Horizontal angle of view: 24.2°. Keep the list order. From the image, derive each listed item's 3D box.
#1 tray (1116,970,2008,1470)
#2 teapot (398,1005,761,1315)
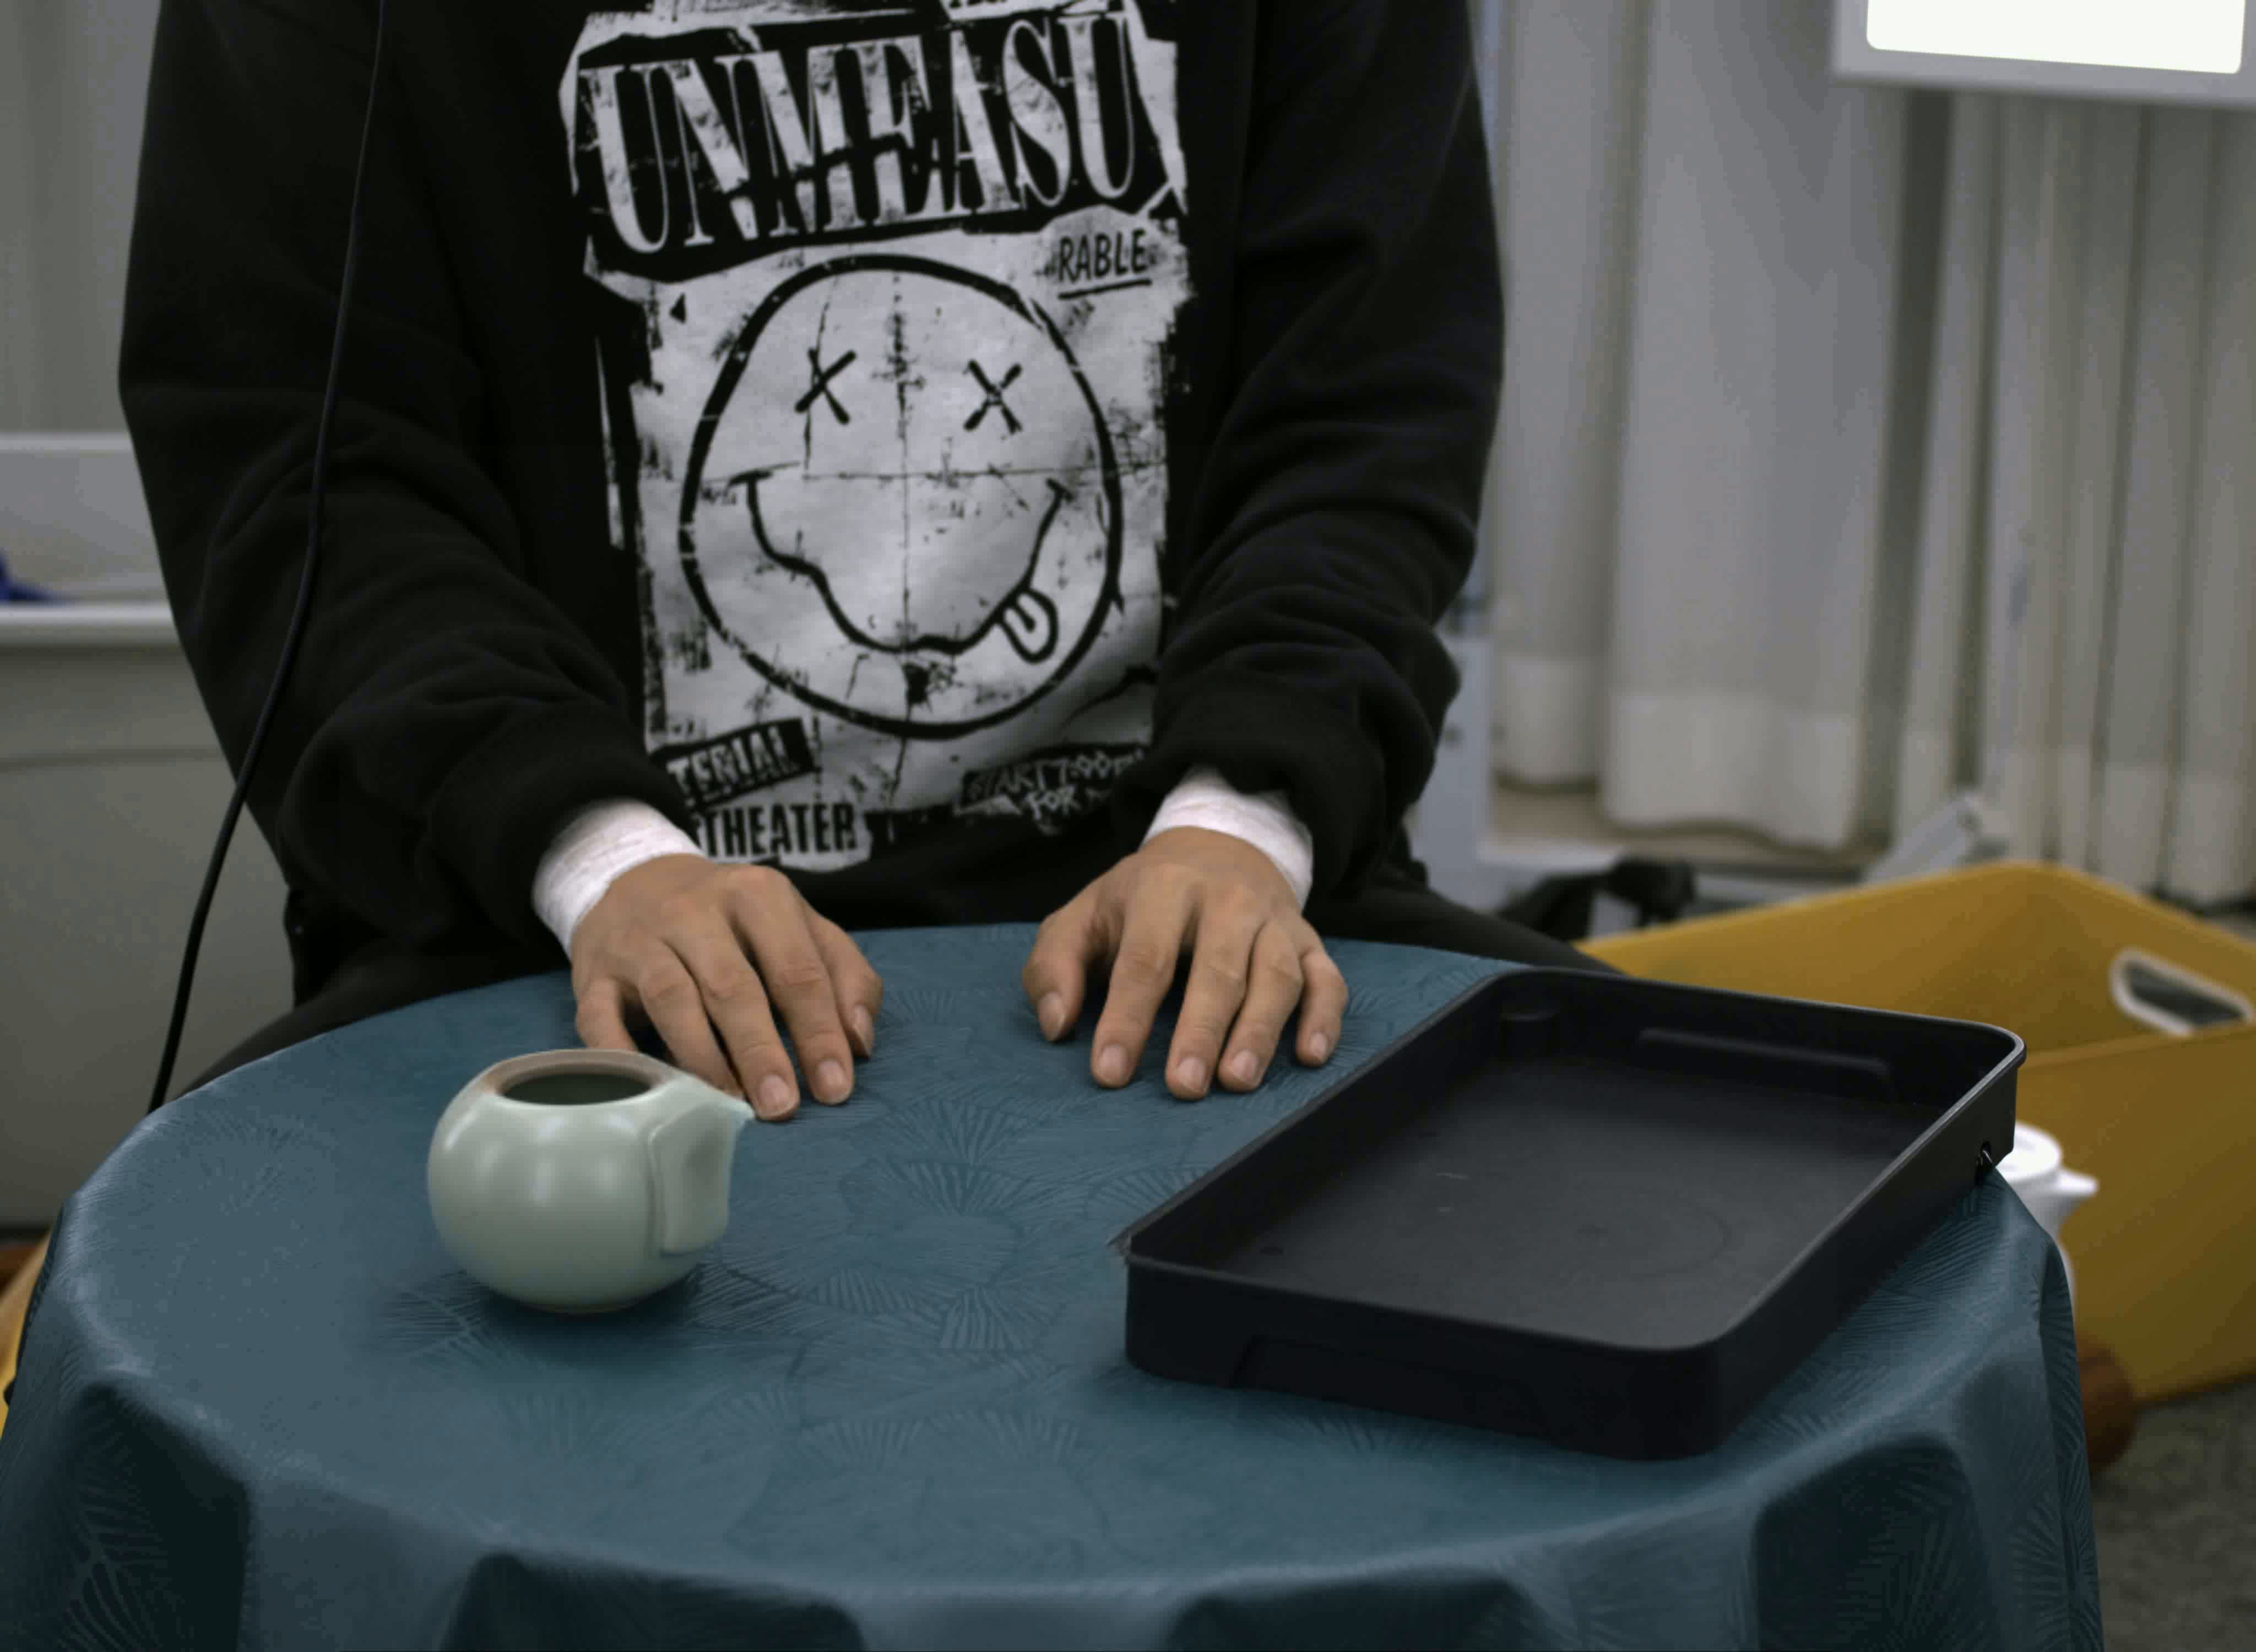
[{"bbox_3d":[0.136,0.110,1.569,0.182,0.037,0.318,7,17,22],"label":"tray"},{"bbox_3d":[-0.159,0.100,1.525,0.142,0.075,0.089,16,22,39],"label":"teapot"}]
